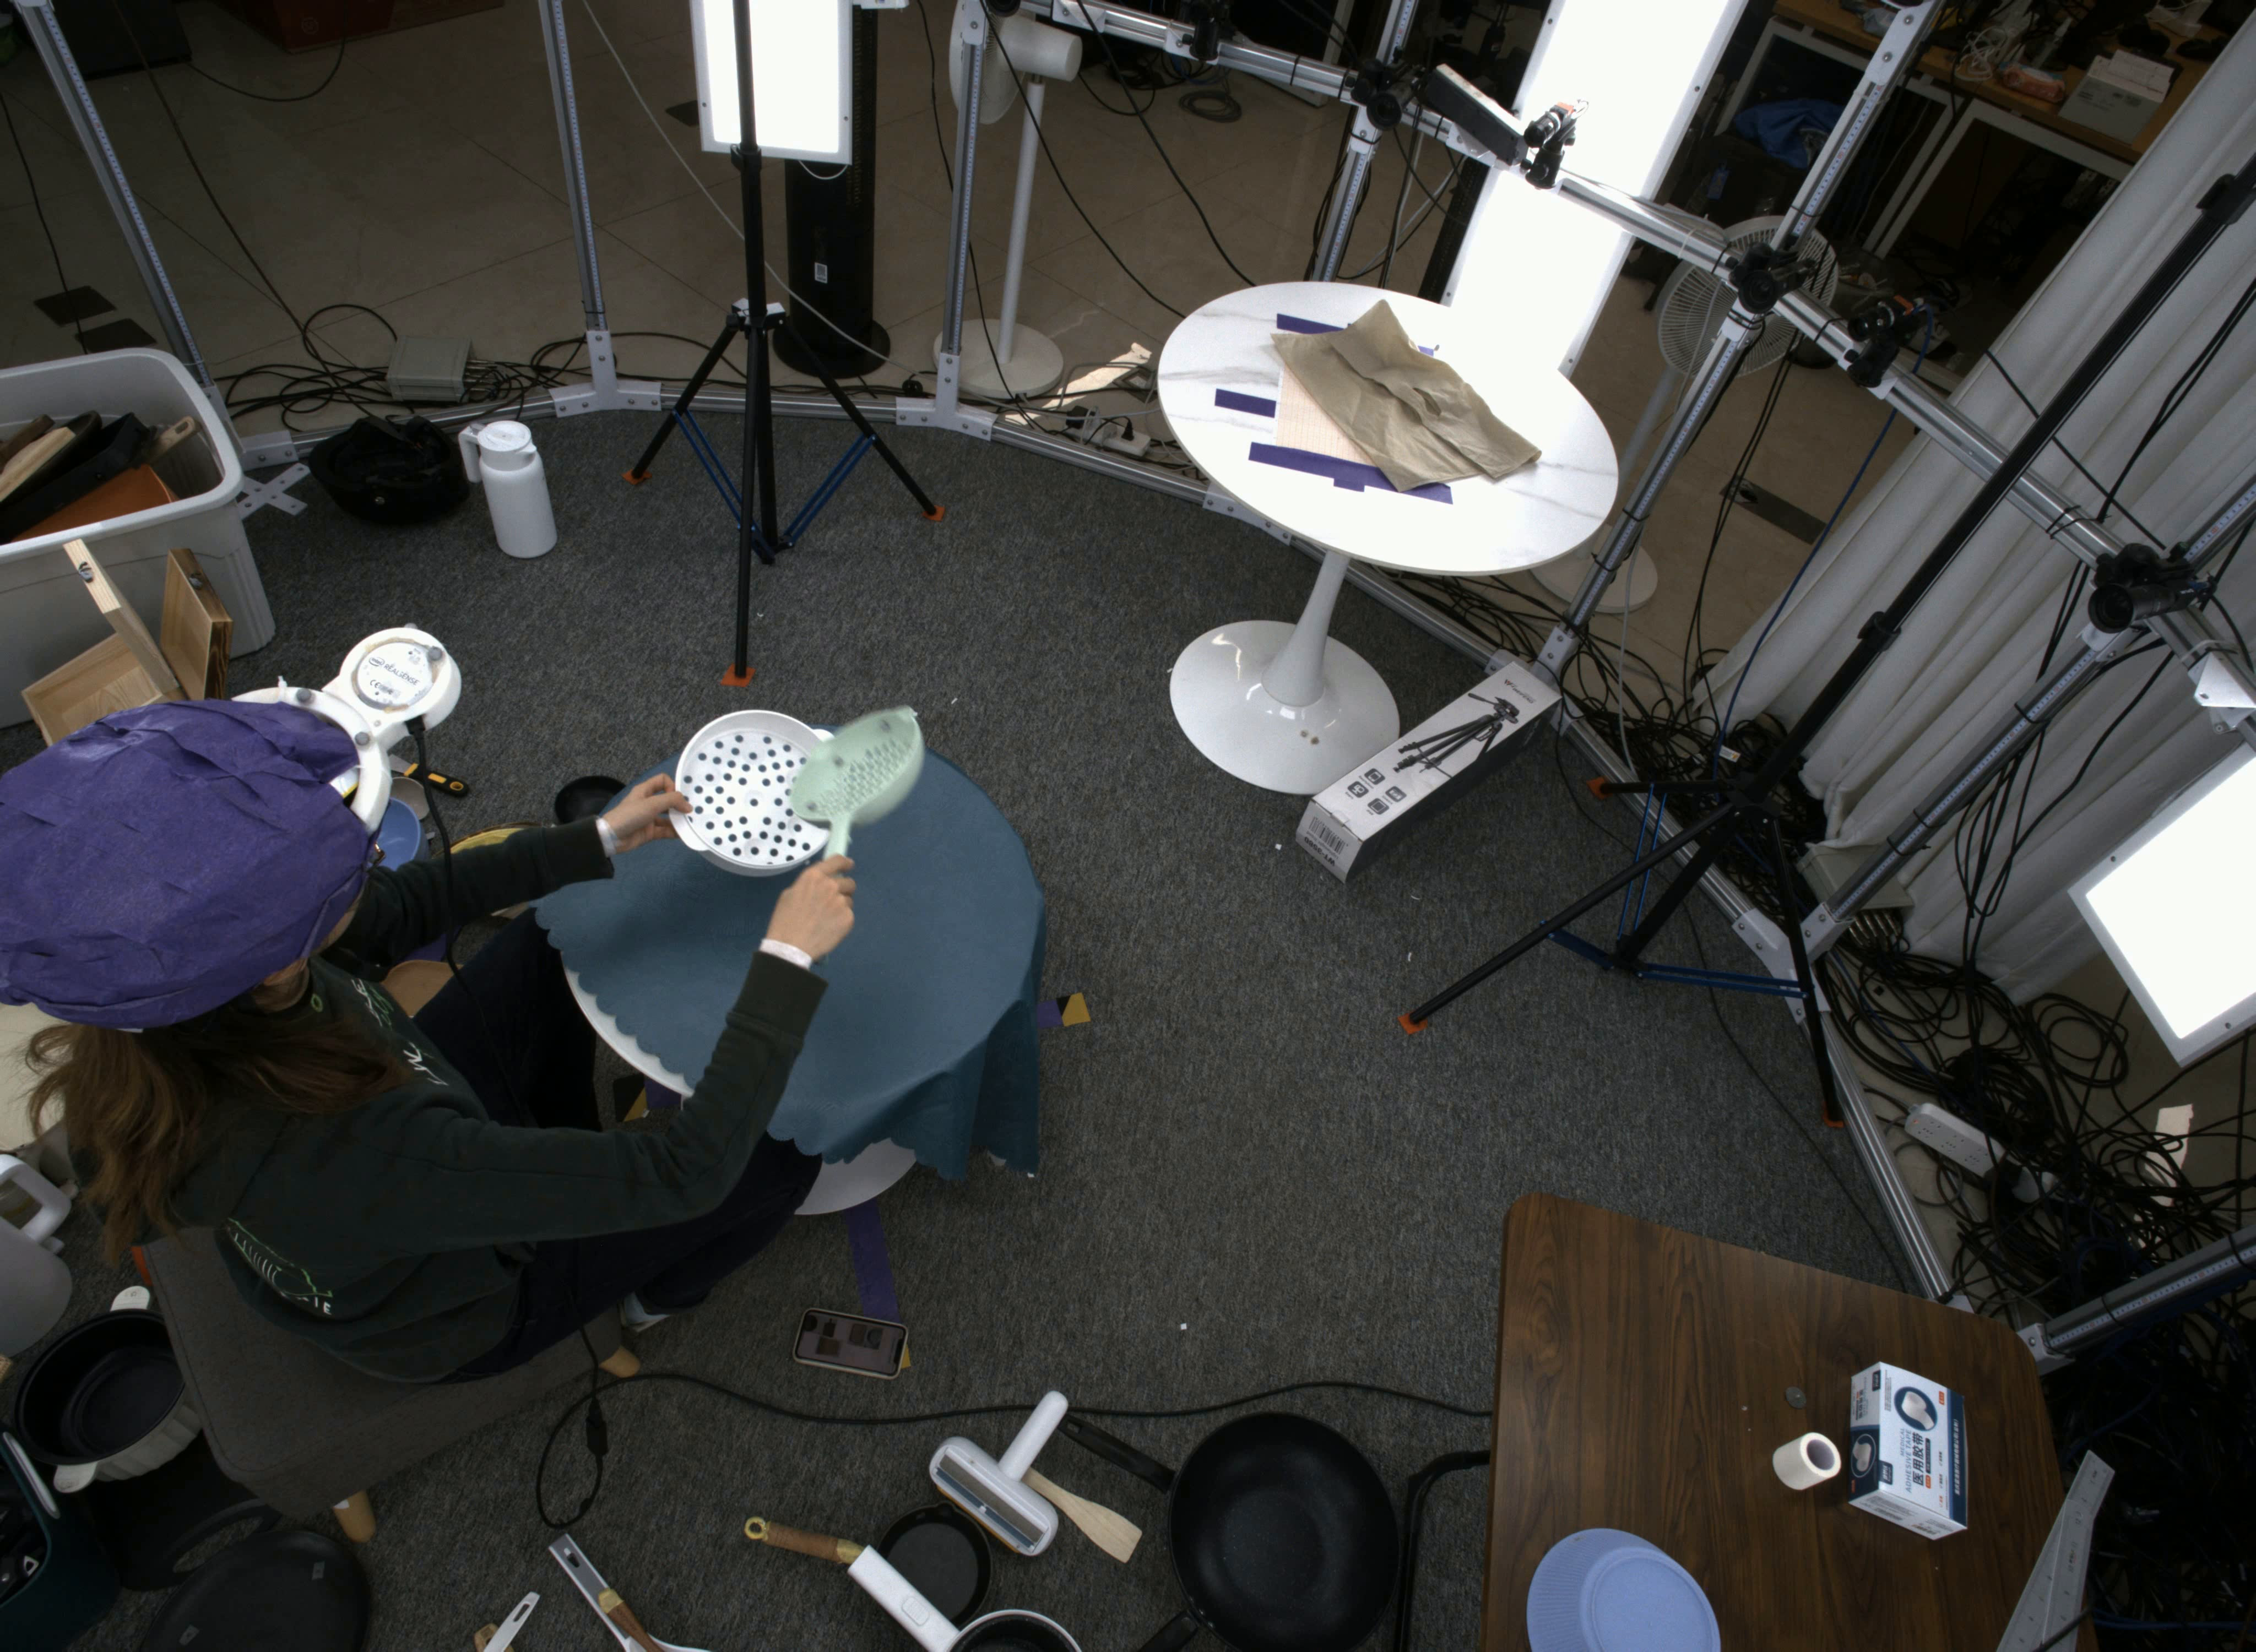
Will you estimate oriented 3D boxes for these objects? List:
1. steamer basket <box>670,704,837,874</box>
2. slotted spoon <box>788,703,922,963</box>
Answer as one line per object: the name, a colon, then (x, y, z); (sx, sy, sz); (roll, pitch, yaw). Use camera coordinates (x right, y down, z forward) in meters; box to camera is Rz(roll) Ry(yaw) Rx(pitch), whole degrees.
steamer basket: (-0.452, -0.044, 1.583); (0.231, 0.068, 0.203); (-34, 92, -31)
slotted spoon: (-0.301, 0.000, 1.375); (0.166, 0.078, 0.352); (-21, 31, 18)
